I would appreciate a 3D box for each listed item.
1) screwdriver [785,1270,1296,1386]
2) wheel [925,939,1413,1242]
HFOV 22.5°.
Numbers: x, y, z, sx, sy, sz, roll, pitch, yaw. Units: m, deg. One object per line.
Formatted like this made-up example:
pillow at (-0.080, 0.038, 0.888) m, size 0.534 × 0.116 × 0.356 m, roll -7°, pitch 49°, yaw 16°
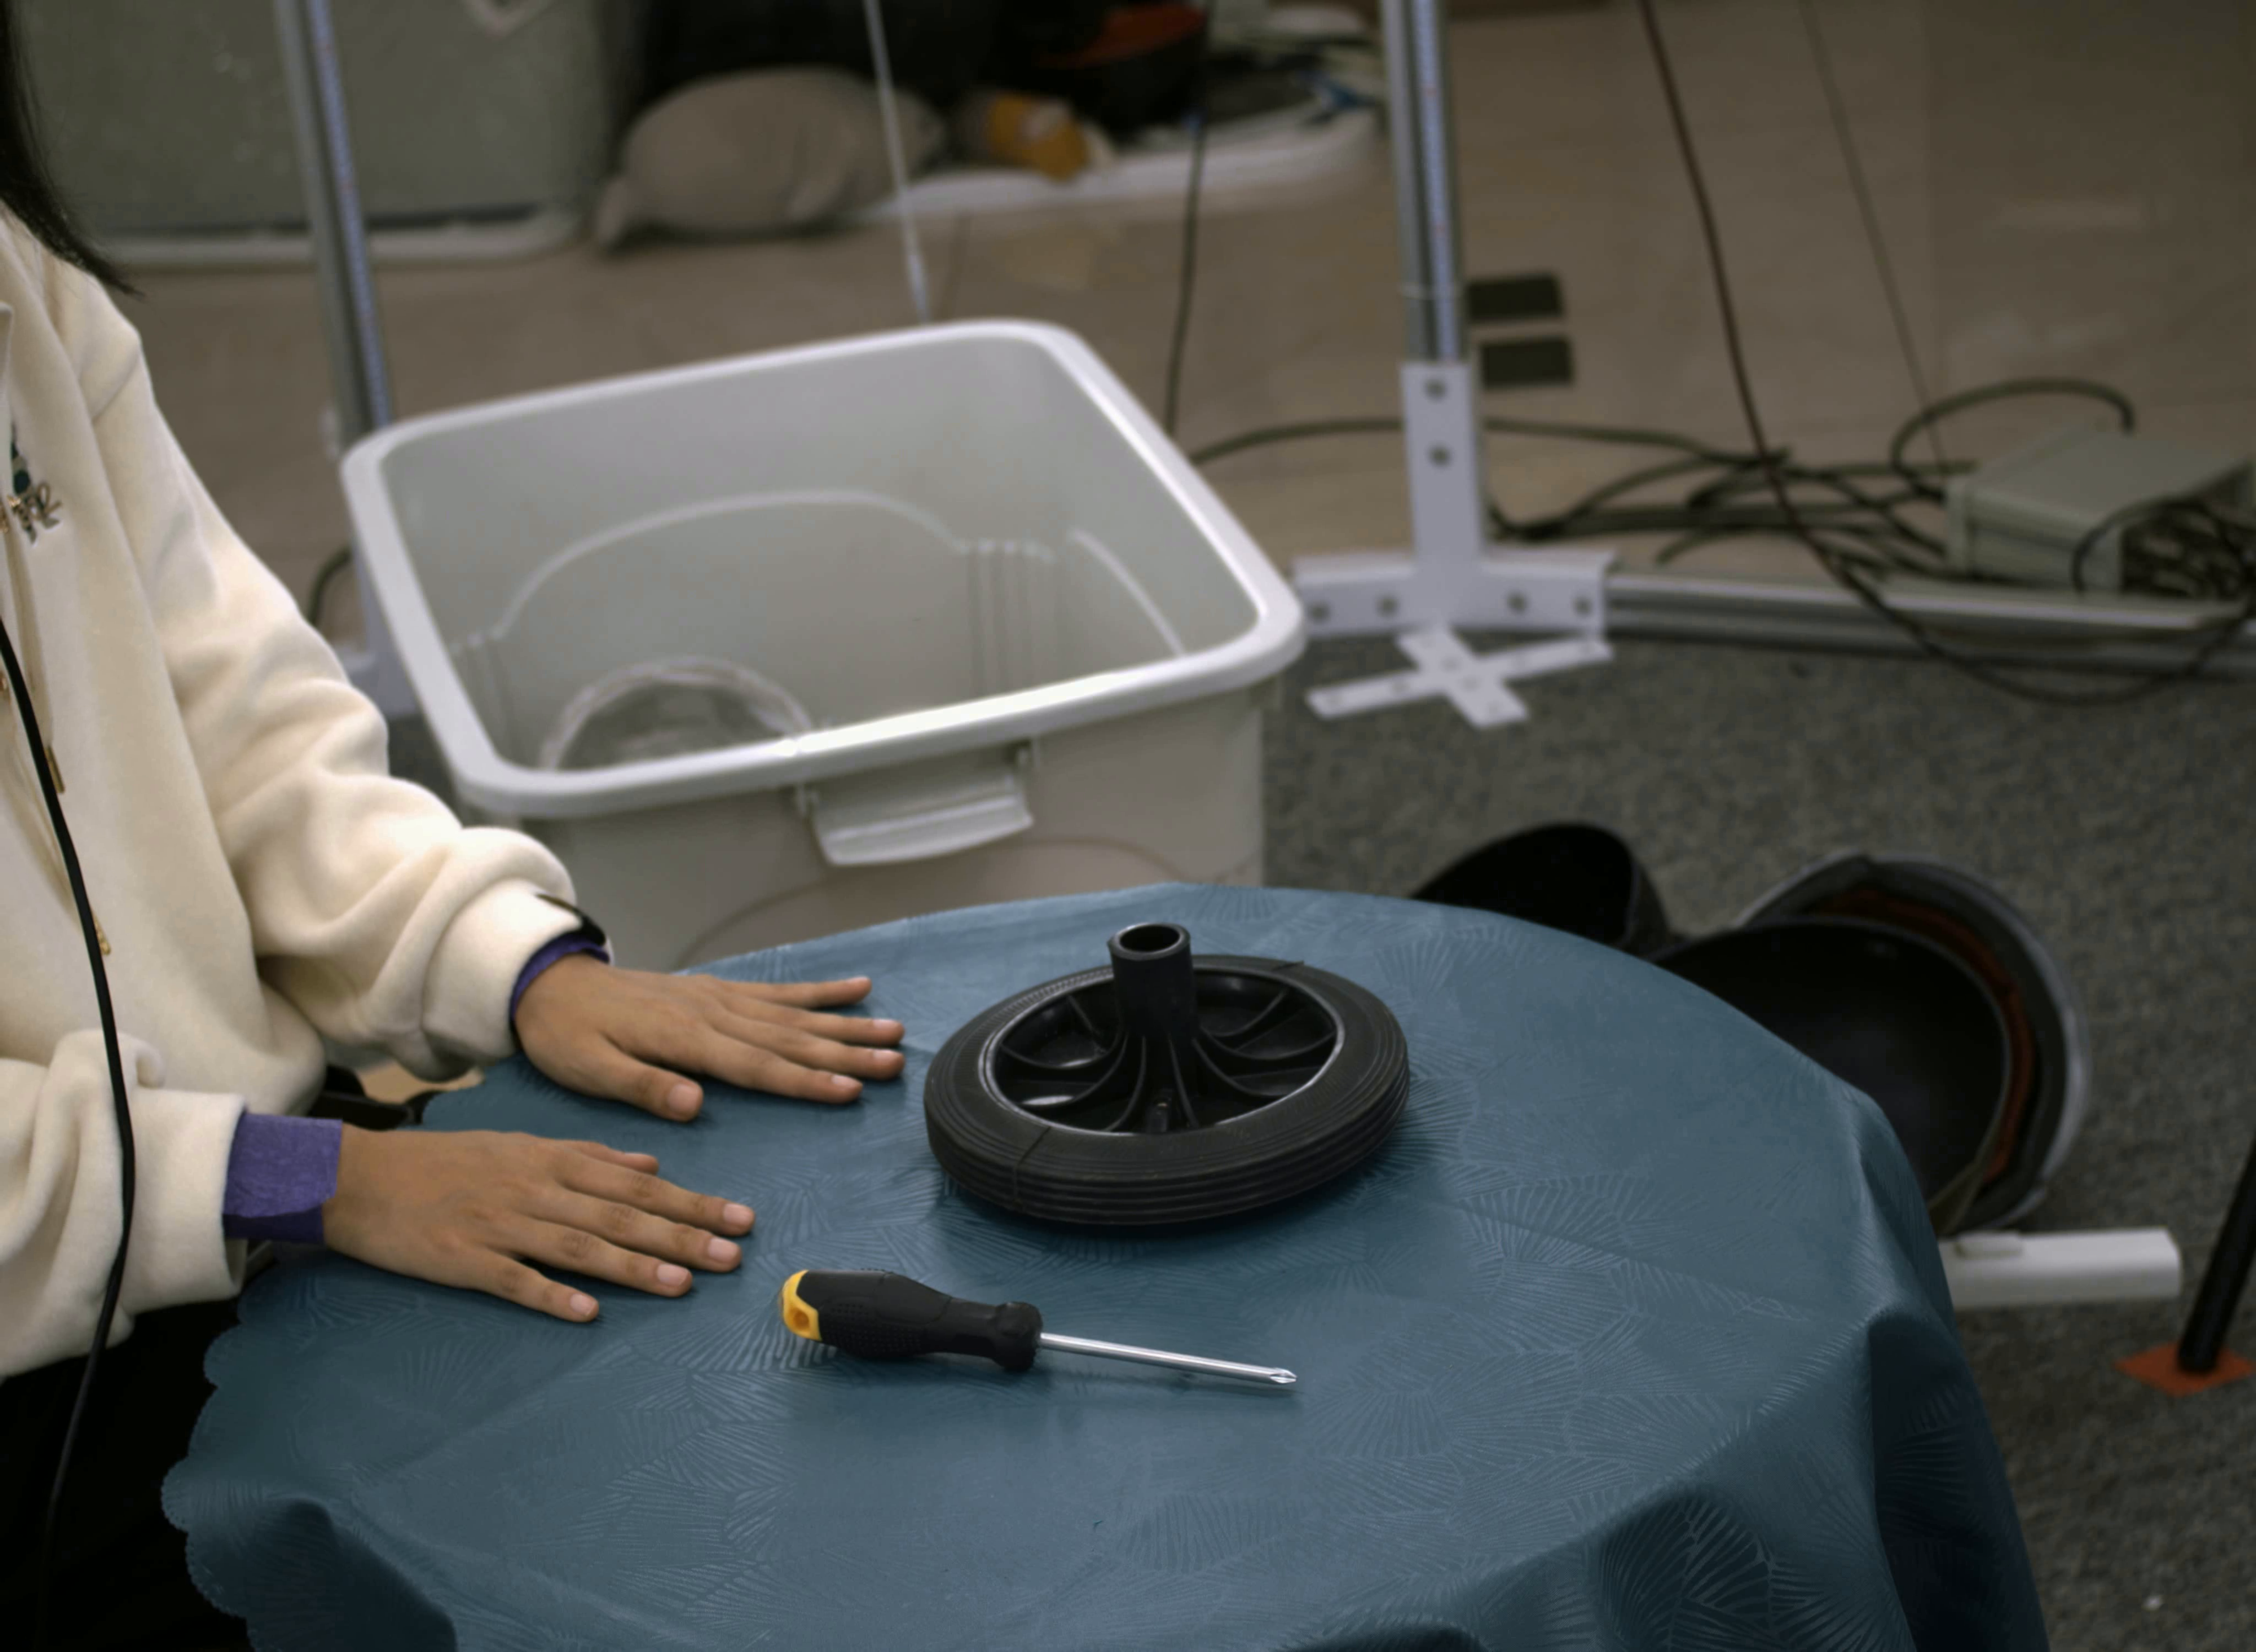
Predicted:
screwdriver at (-0.031, 0.181, 2.036) m, size 0.195 × 0.032 × 0.031 m, roll 5°, pitch 27°, yaw 18°
wheel at (0.013, 0.086, 2.172) m, size 0.187 × 0.080 × 0.187 m, roll -13°, pitch 27°, yaw -13°
